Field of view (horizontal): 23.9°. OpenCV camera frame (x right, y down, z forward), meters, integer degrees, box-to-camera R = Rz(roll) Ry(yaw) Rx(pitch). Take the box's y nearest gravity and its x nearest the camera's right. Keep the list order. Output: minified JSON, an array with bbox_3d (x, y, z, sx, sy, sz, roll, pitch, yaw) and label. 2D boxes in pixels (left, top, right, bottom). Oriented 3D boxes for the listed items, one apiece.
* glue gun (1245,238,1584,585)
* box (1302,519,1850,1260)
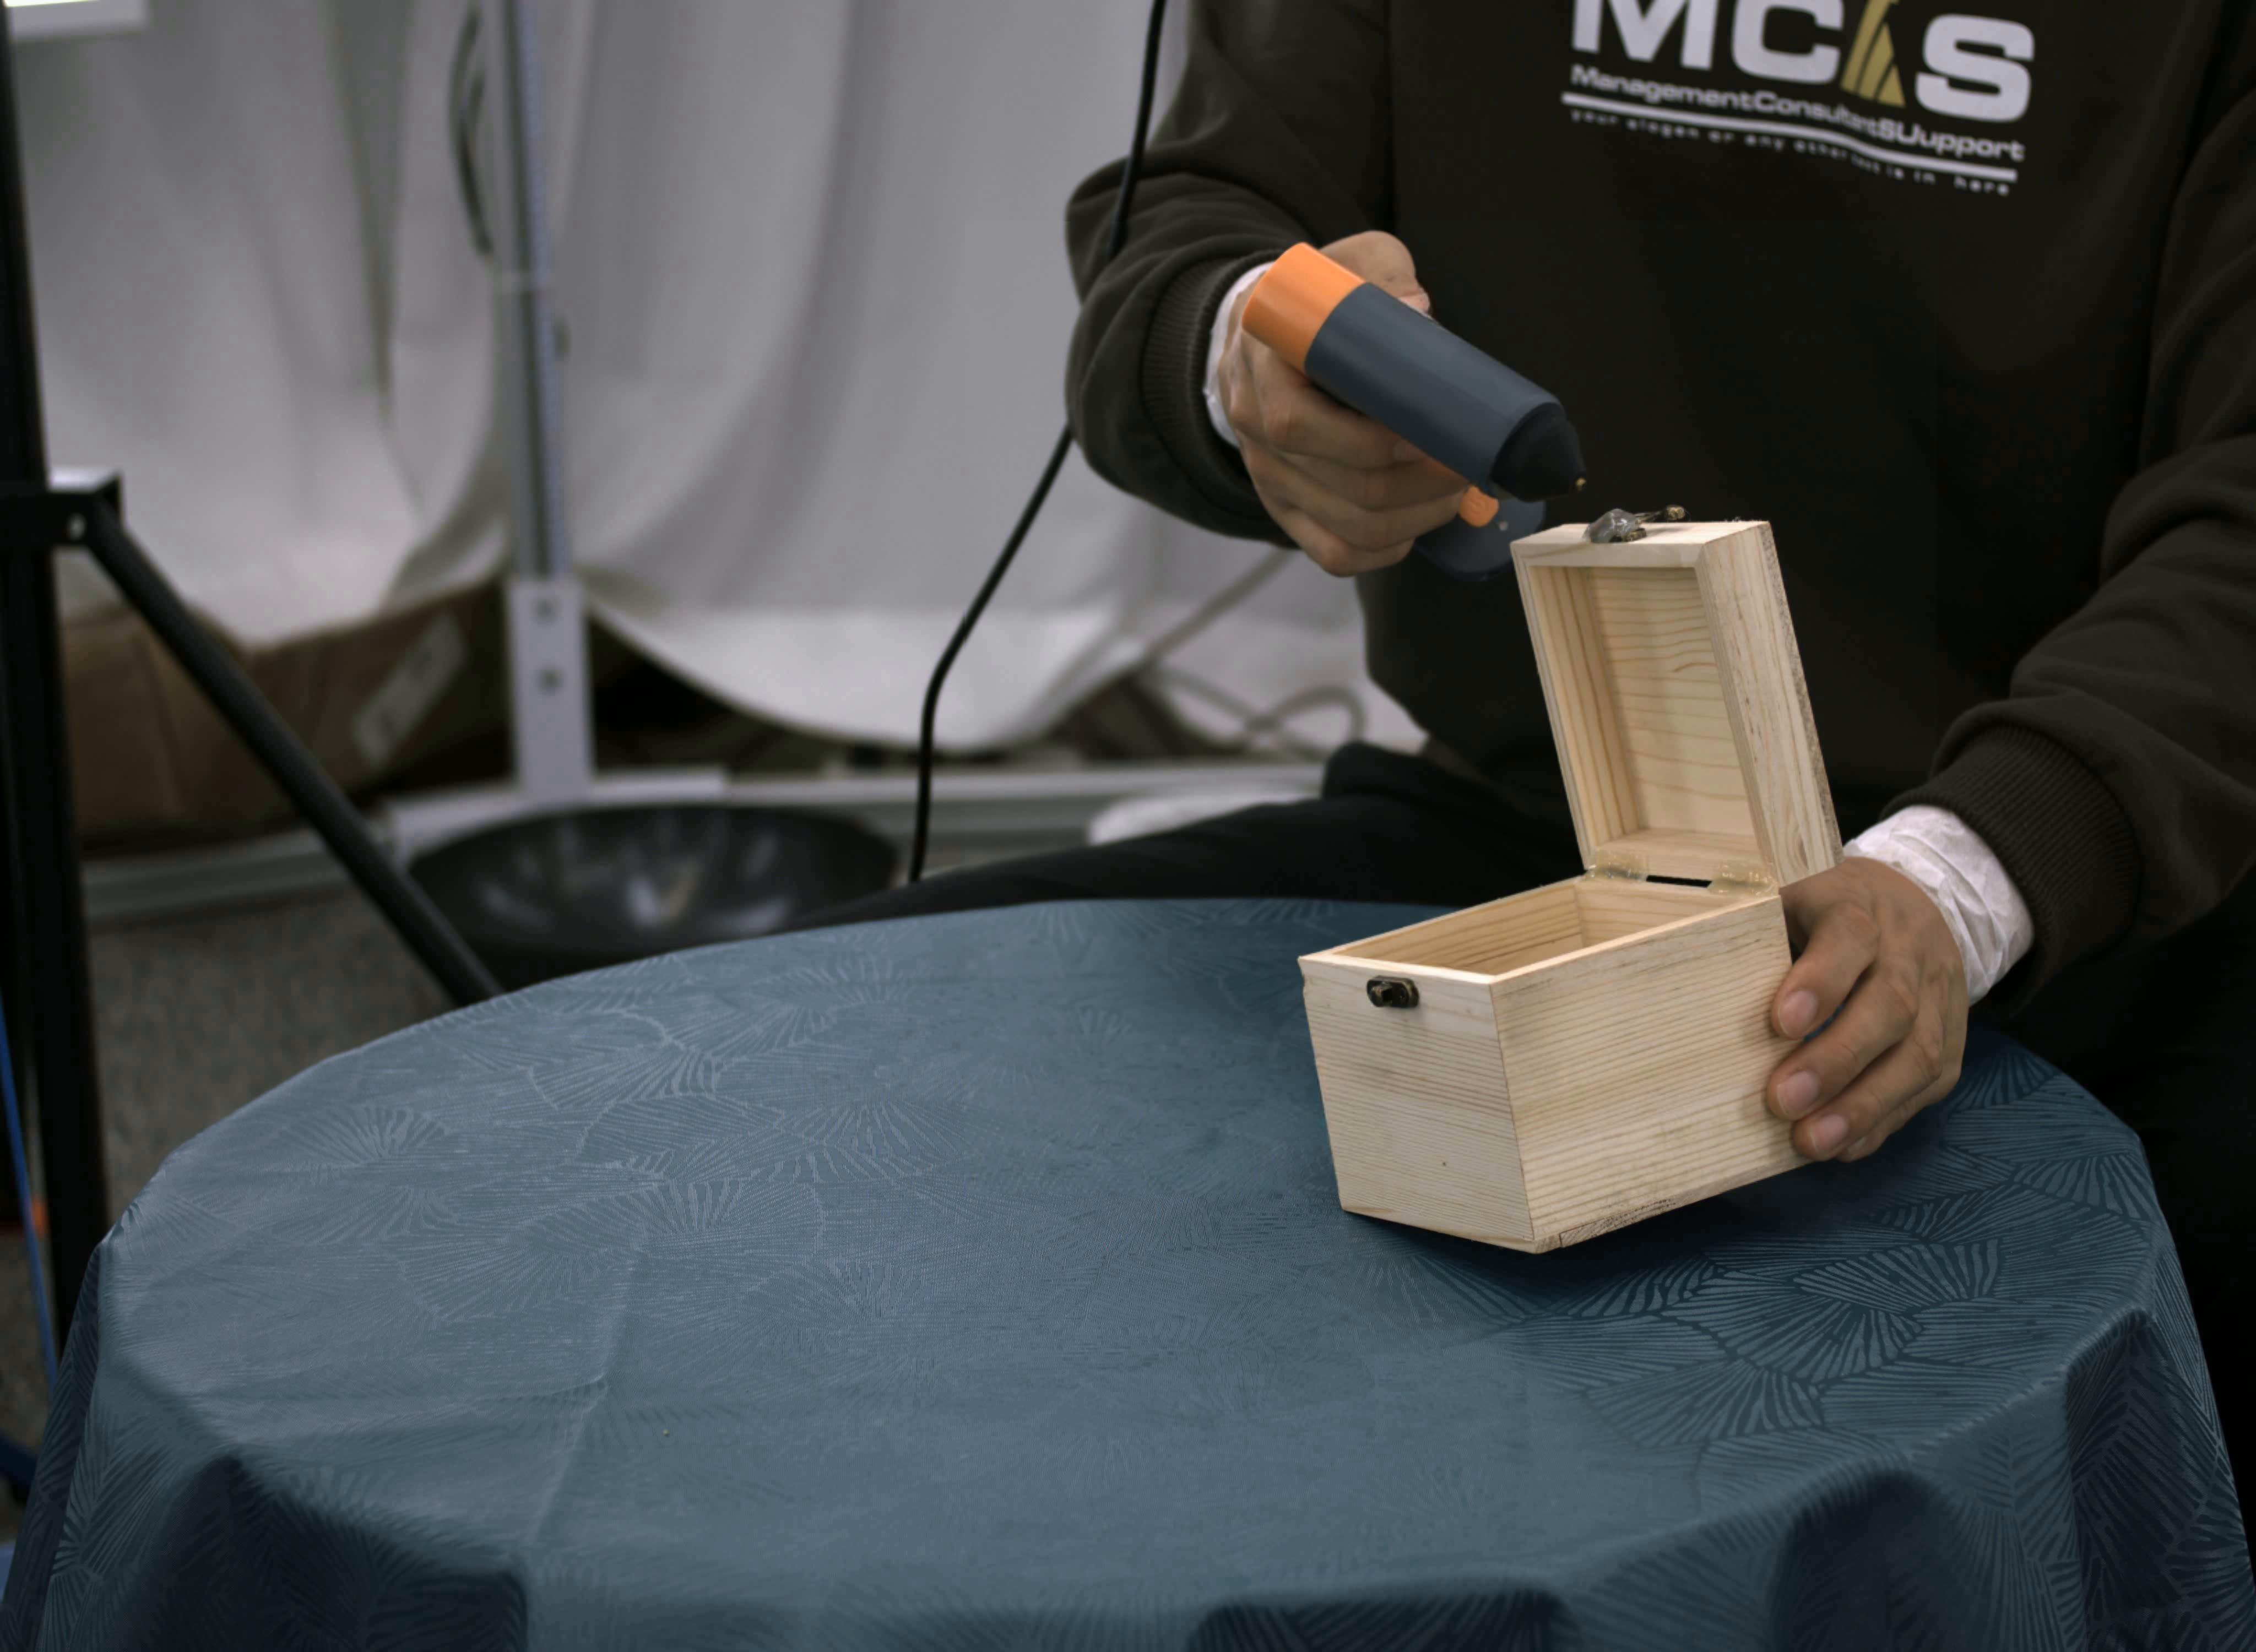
[{"bbox_3d":[0.091,-0.117,1.584,0.119,0.041,0.138,40,-6,14],"label":"glue gun"},{"bbox_3d":[0.122,0.014,1.502,0.131,0.185,0.104,-14,9,-28],"label":"box"}]
